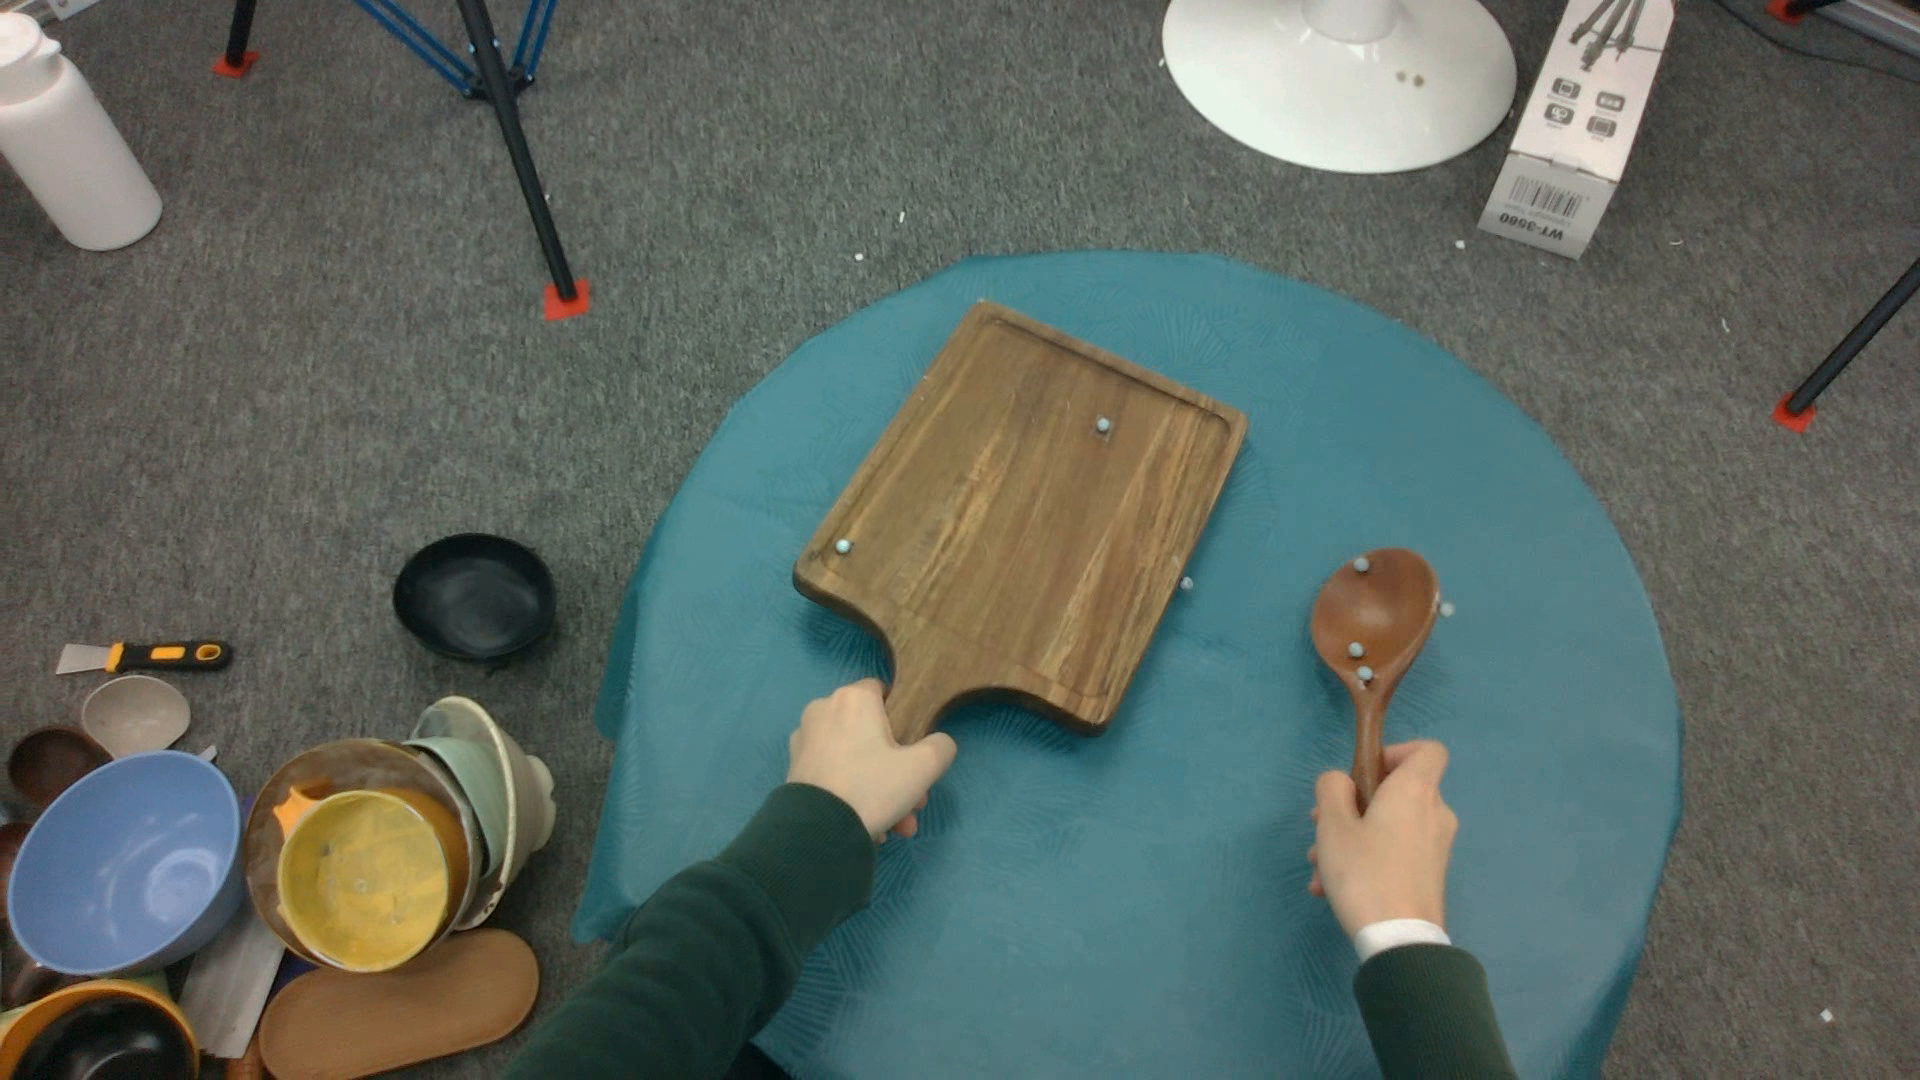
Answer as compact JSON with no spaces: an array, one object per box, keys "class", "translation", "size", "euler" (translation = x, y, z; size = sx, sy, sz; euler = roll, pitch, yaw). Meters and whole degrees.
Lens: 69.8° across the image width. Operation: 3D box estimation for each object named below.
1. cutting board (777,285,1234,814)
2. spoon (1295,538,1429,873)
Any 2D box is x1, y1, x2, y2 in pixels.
[{"class":"cutting board","translation":[0.015,0.004,0.791],"size":[0.201,0.023,0.354],"euler":[26,57,6]},{"class":"spoon","translation":[0.211,0.081,0.734],"size":[0.075,0.017,0.217],"euler":[-13,39,32]}]
